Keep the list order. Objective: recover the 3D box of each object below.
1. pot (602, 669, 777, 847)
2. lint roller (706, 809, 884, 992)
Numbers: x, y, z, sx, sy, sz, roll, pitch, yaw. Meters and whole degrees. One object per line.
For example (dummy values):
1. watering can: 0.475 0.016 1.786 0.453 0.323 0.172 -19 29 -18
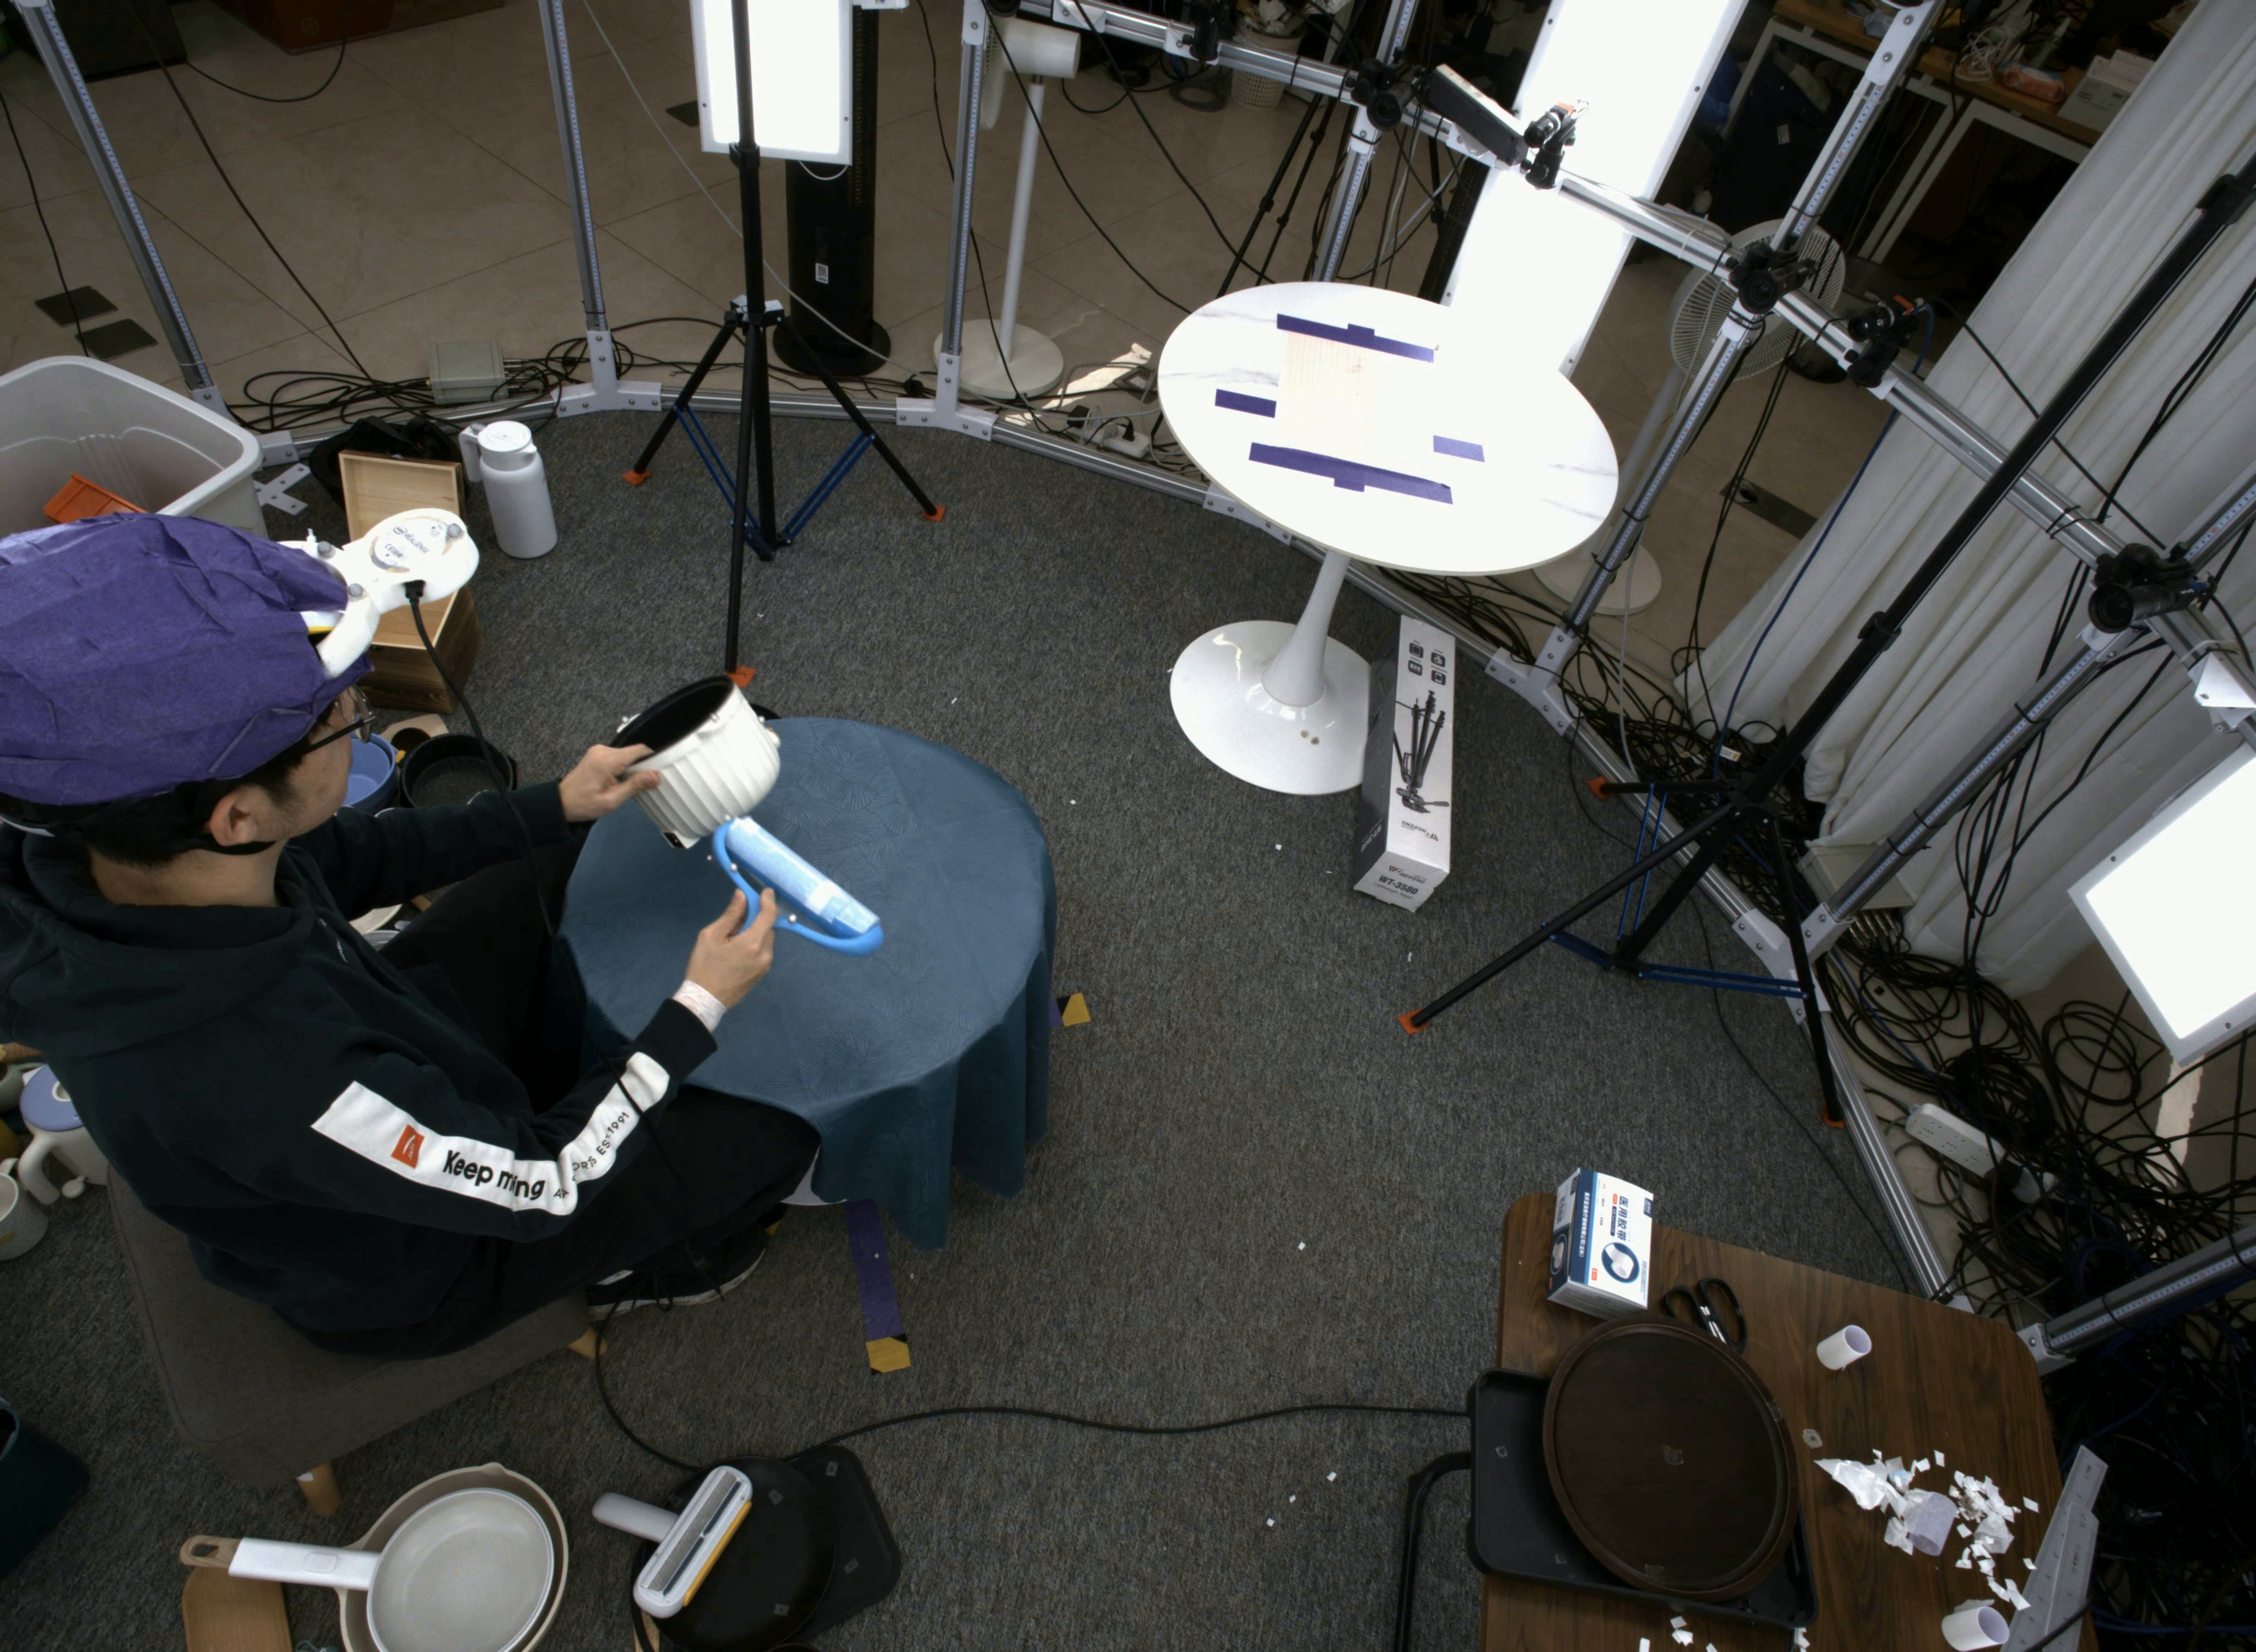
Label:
1. pot: -0.525 -0.086 1.571 0.232 0.148 0.190 2 46 41
2. lint roller: -0.402 0.101 1.431 0.228 0.068 0.180 34 65 -2
